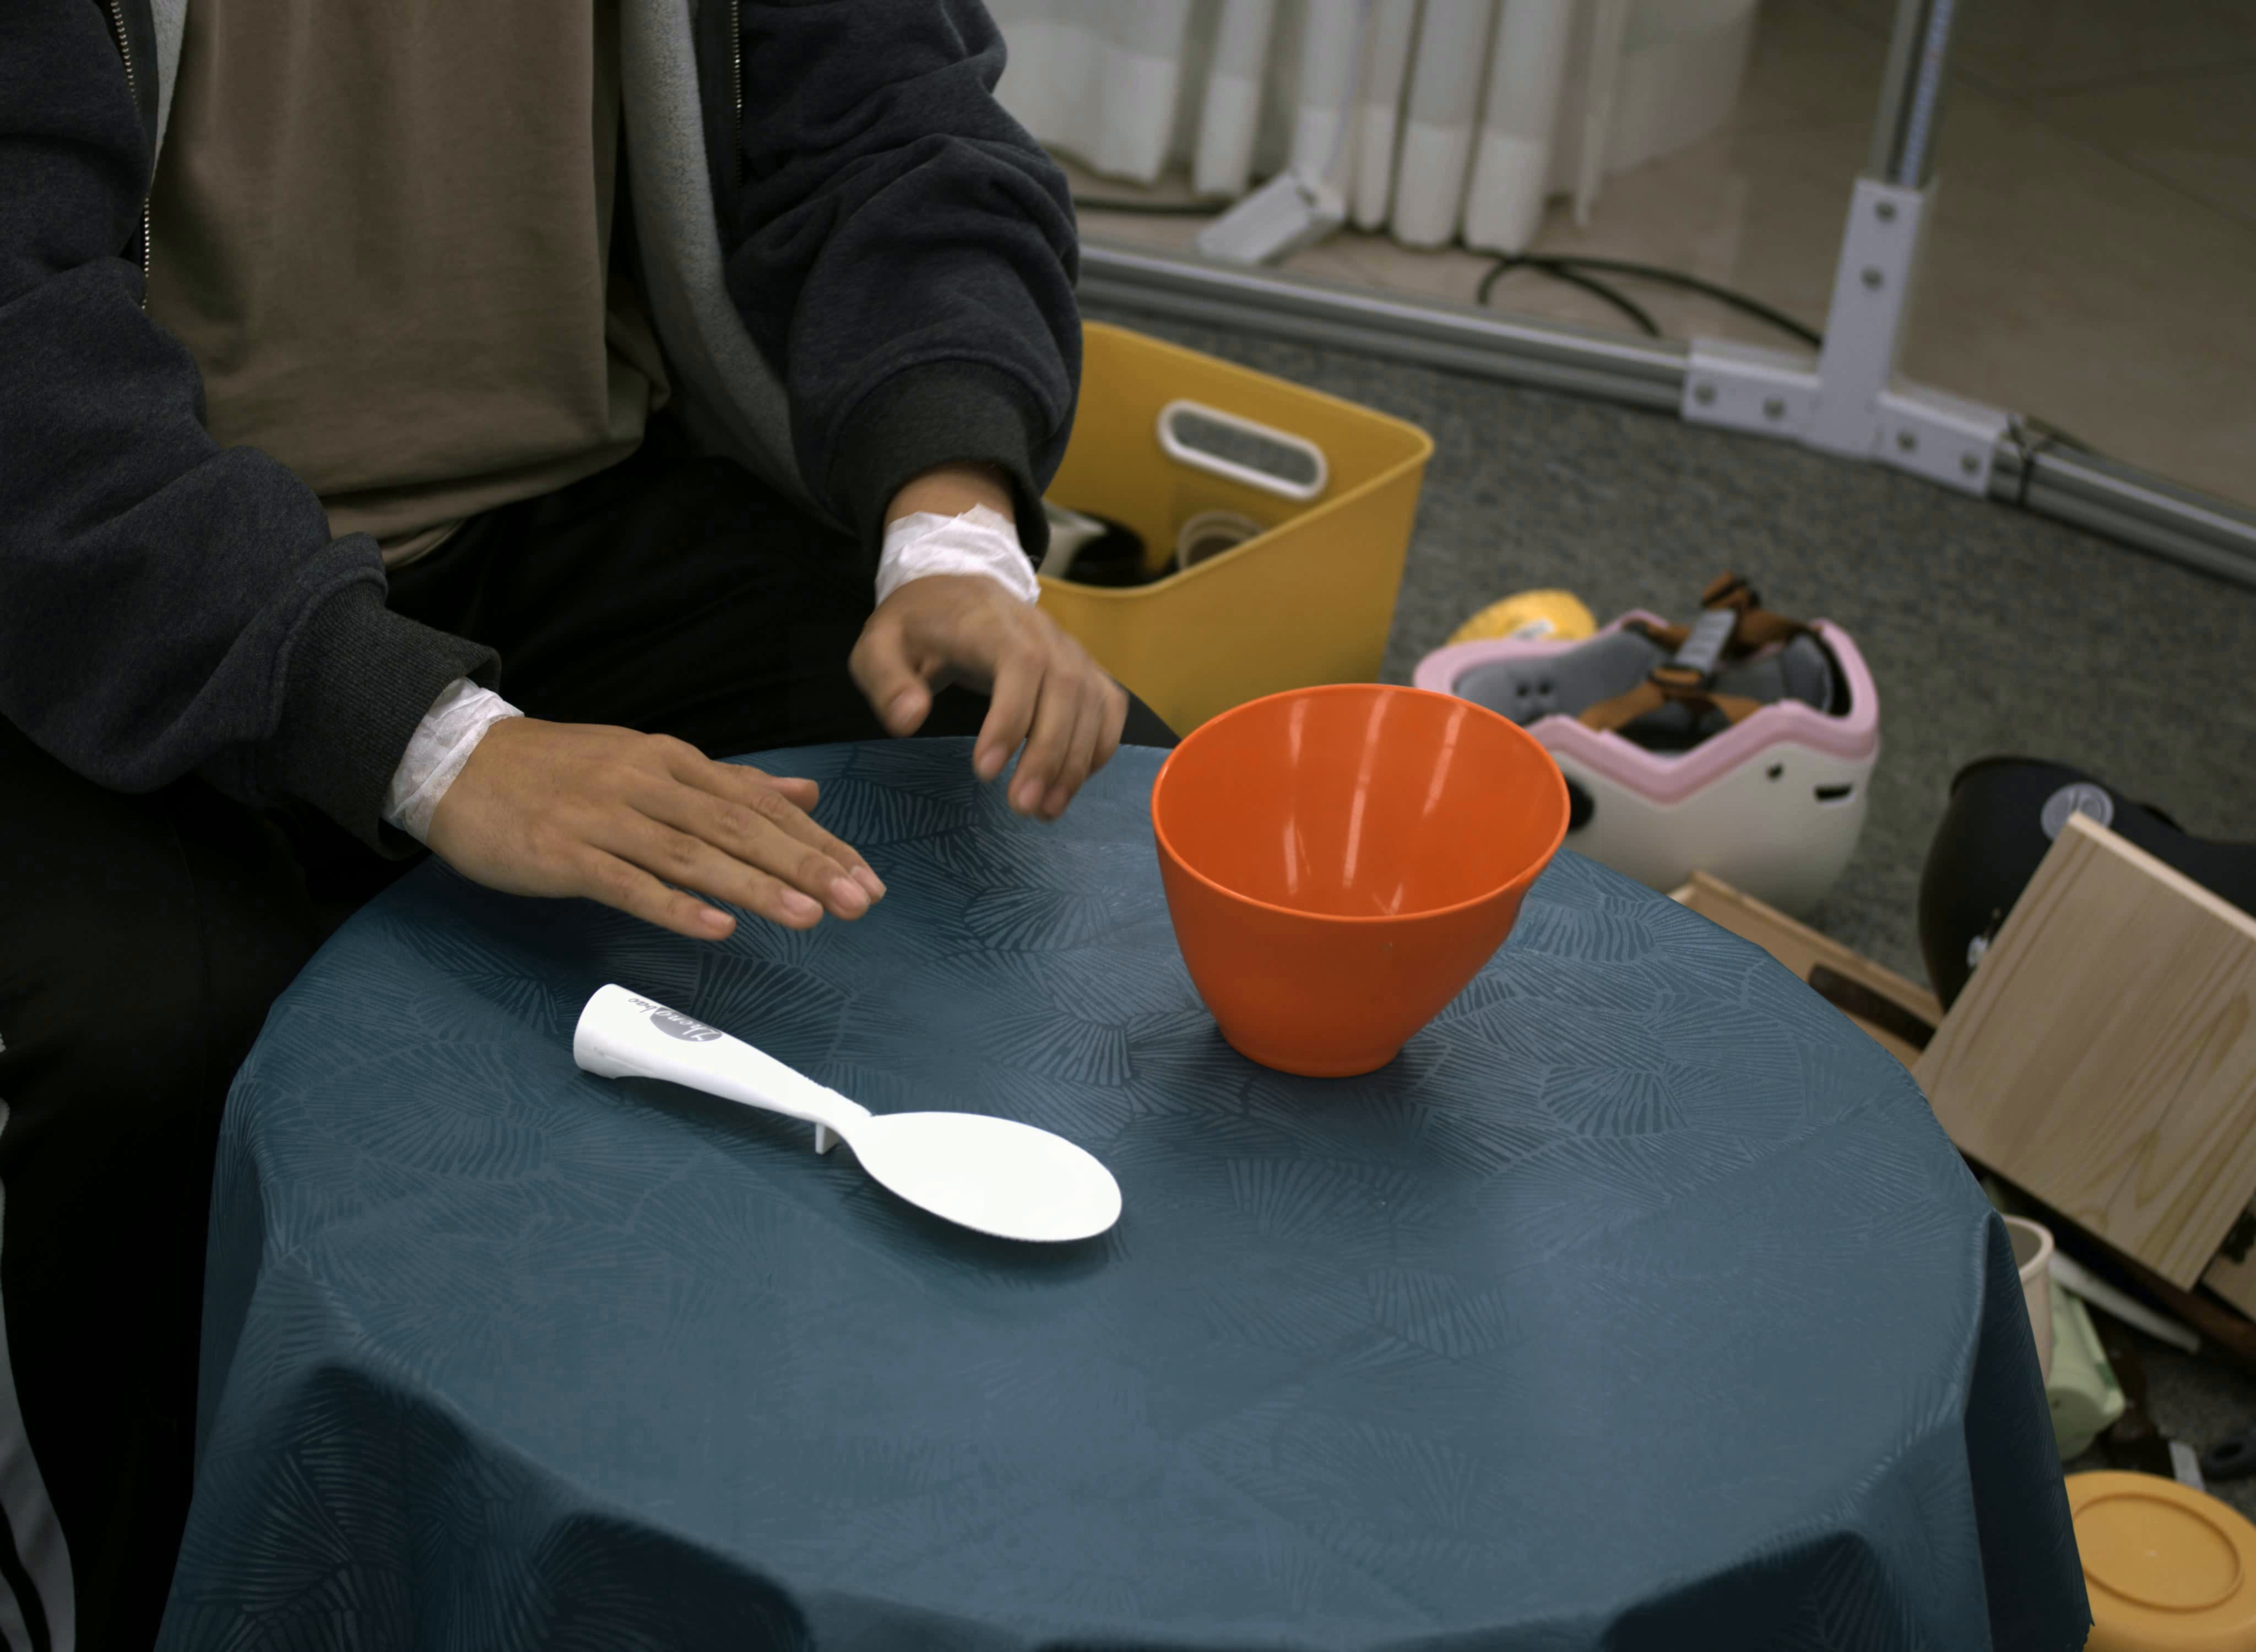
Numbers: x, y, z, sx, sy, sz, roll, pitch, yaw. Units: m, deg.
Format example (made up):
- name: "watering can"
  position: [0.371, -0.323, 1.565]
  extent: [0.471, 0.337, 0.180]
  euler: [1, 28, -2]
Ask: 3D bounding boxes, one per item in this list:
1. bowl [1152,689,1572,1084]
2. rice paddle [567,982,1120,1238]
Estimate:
- name: "bowl"
  position: [0.079, 0.028, 1.897]
  extent: [0.147, 0.104, 0.149]
  euler: [5, 28, -3]
- name: "rice paddle"
  position: [-0.096, 0.097, 1.798]
  extent: [0.206, 0.029, 0.069]
  euler: [18, 30, 22]
